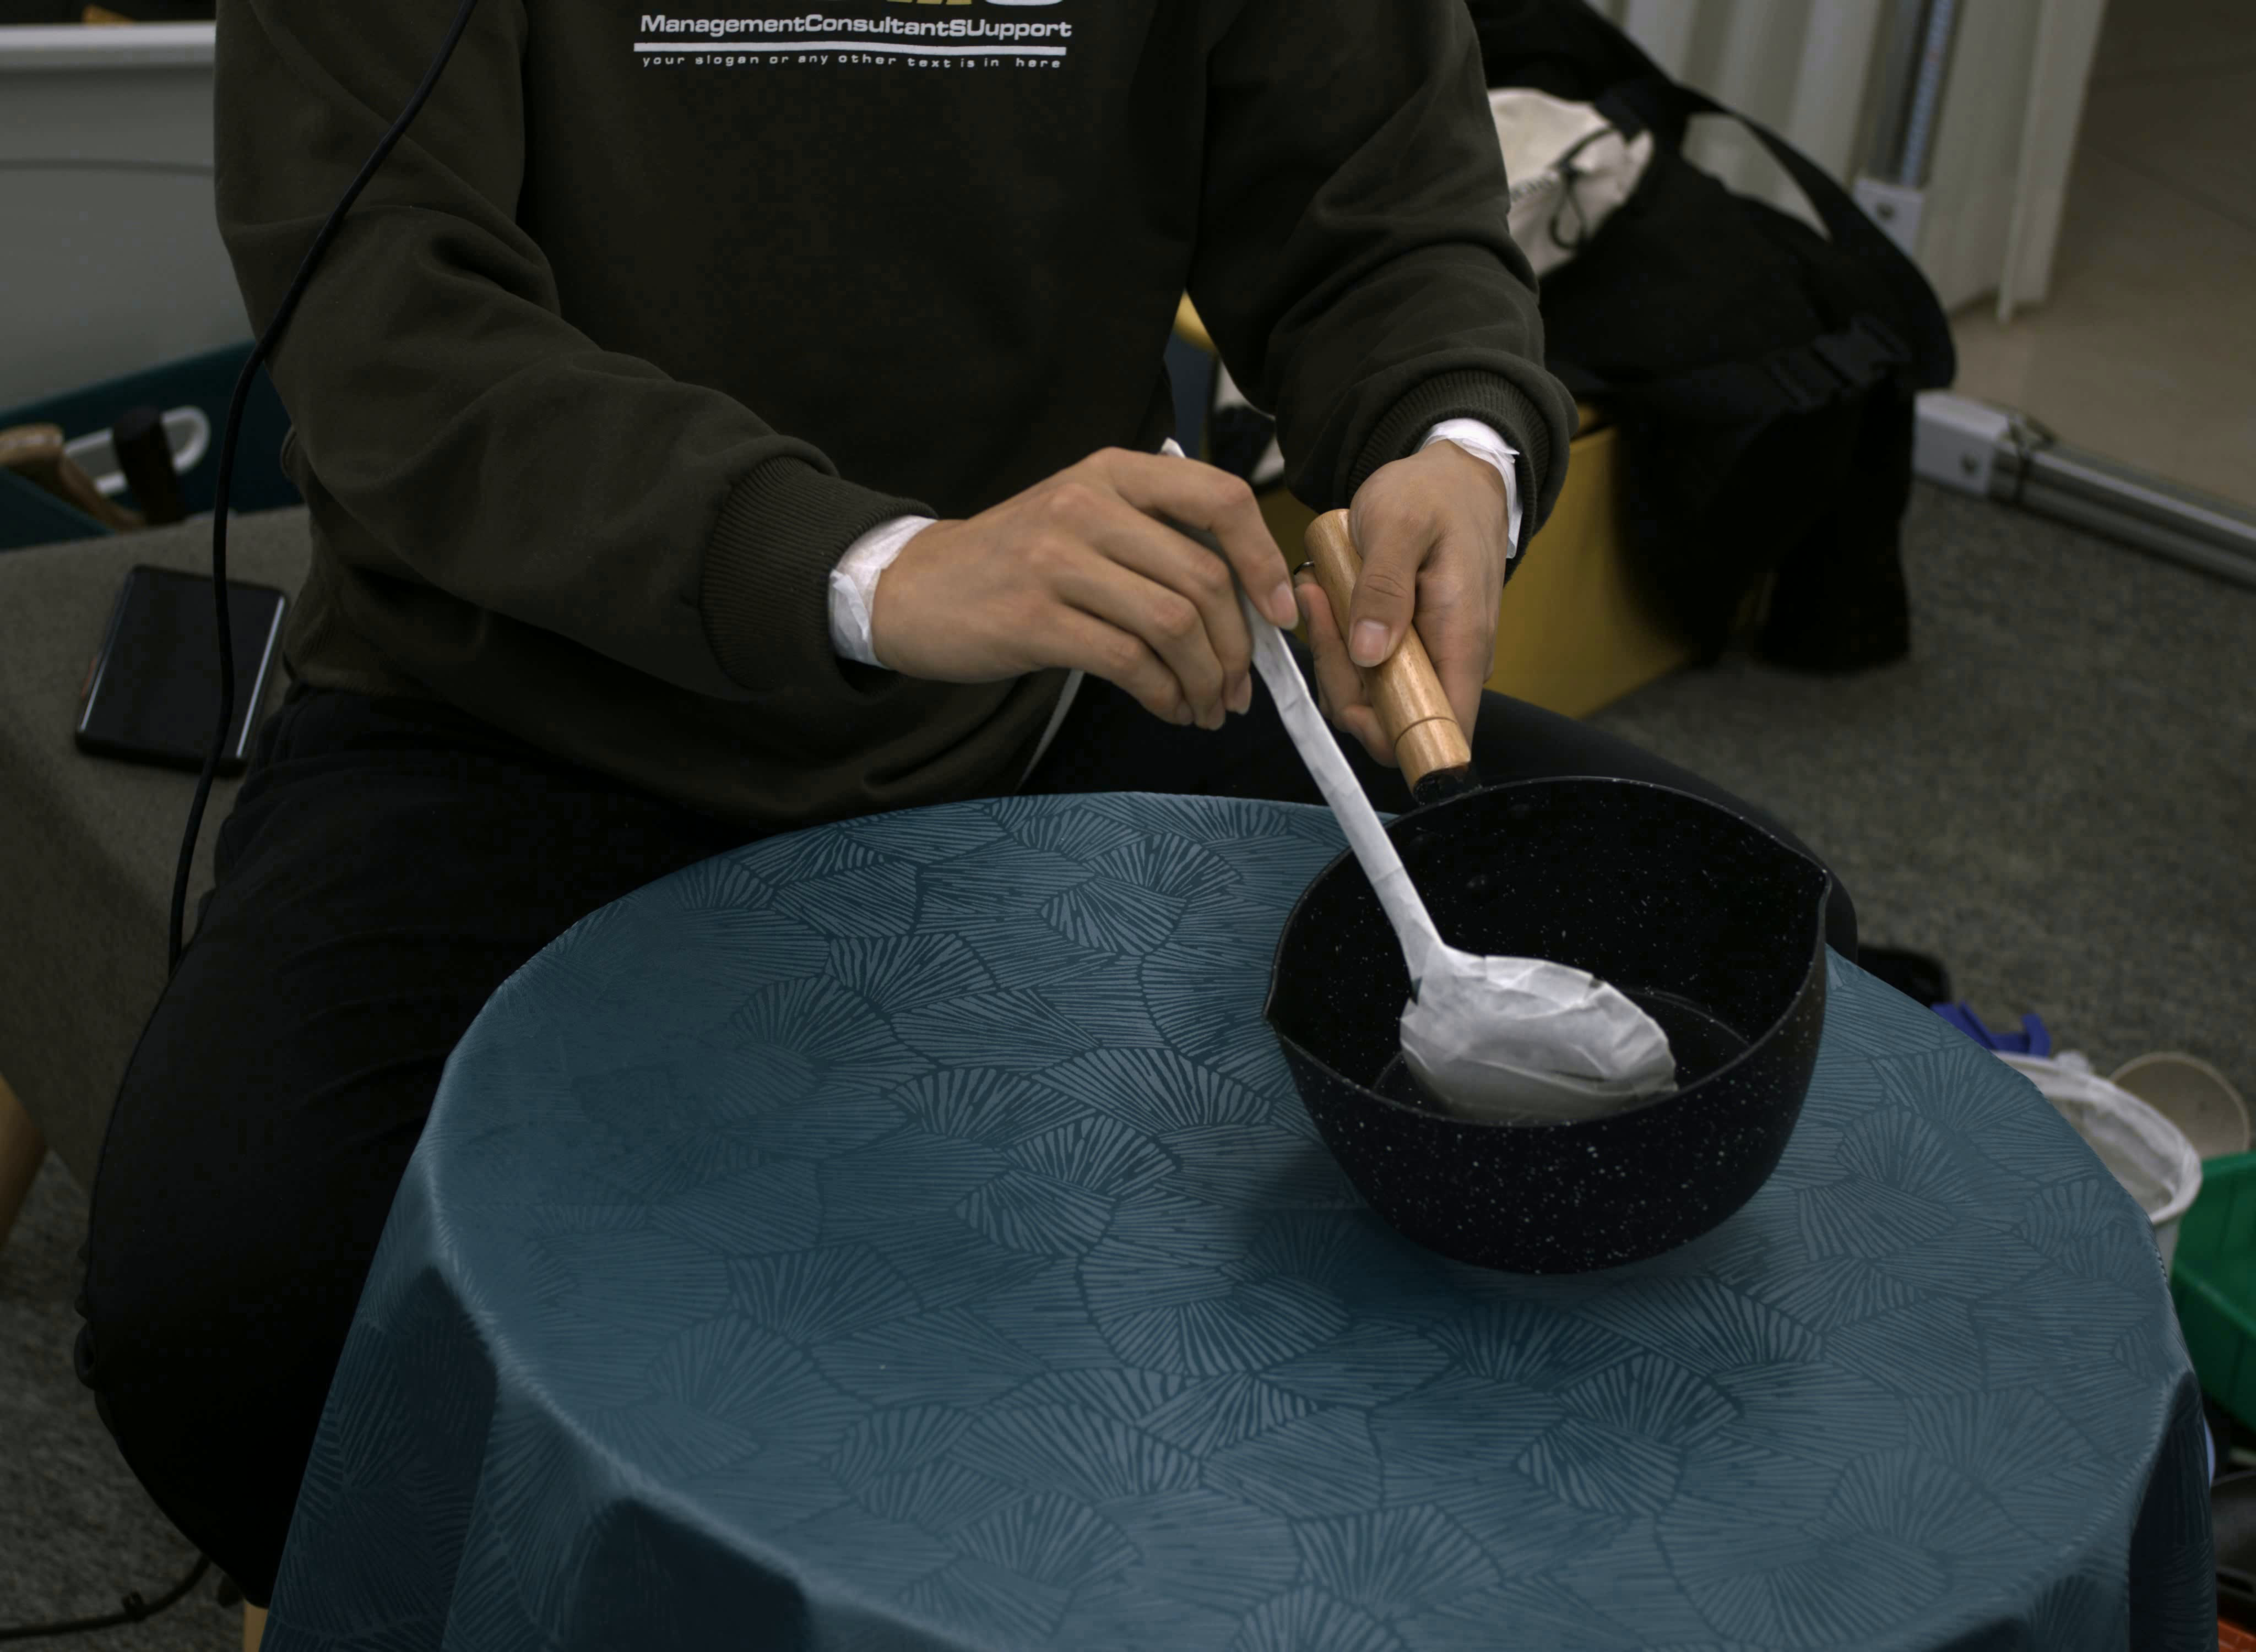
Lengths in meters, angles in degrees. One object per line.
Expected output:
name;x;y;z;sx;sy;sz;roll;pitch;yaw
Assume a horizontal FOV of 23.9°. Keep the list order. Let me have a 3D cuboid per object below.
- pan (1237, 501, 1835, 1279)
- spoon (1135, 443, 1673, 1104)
pan;0.123;0.019;1.862;0.207;0.107;0.346;-17;39;-6
spoon;0.084;-0.011;1.778;0.059;0.101;0.279;-17;74;-47
